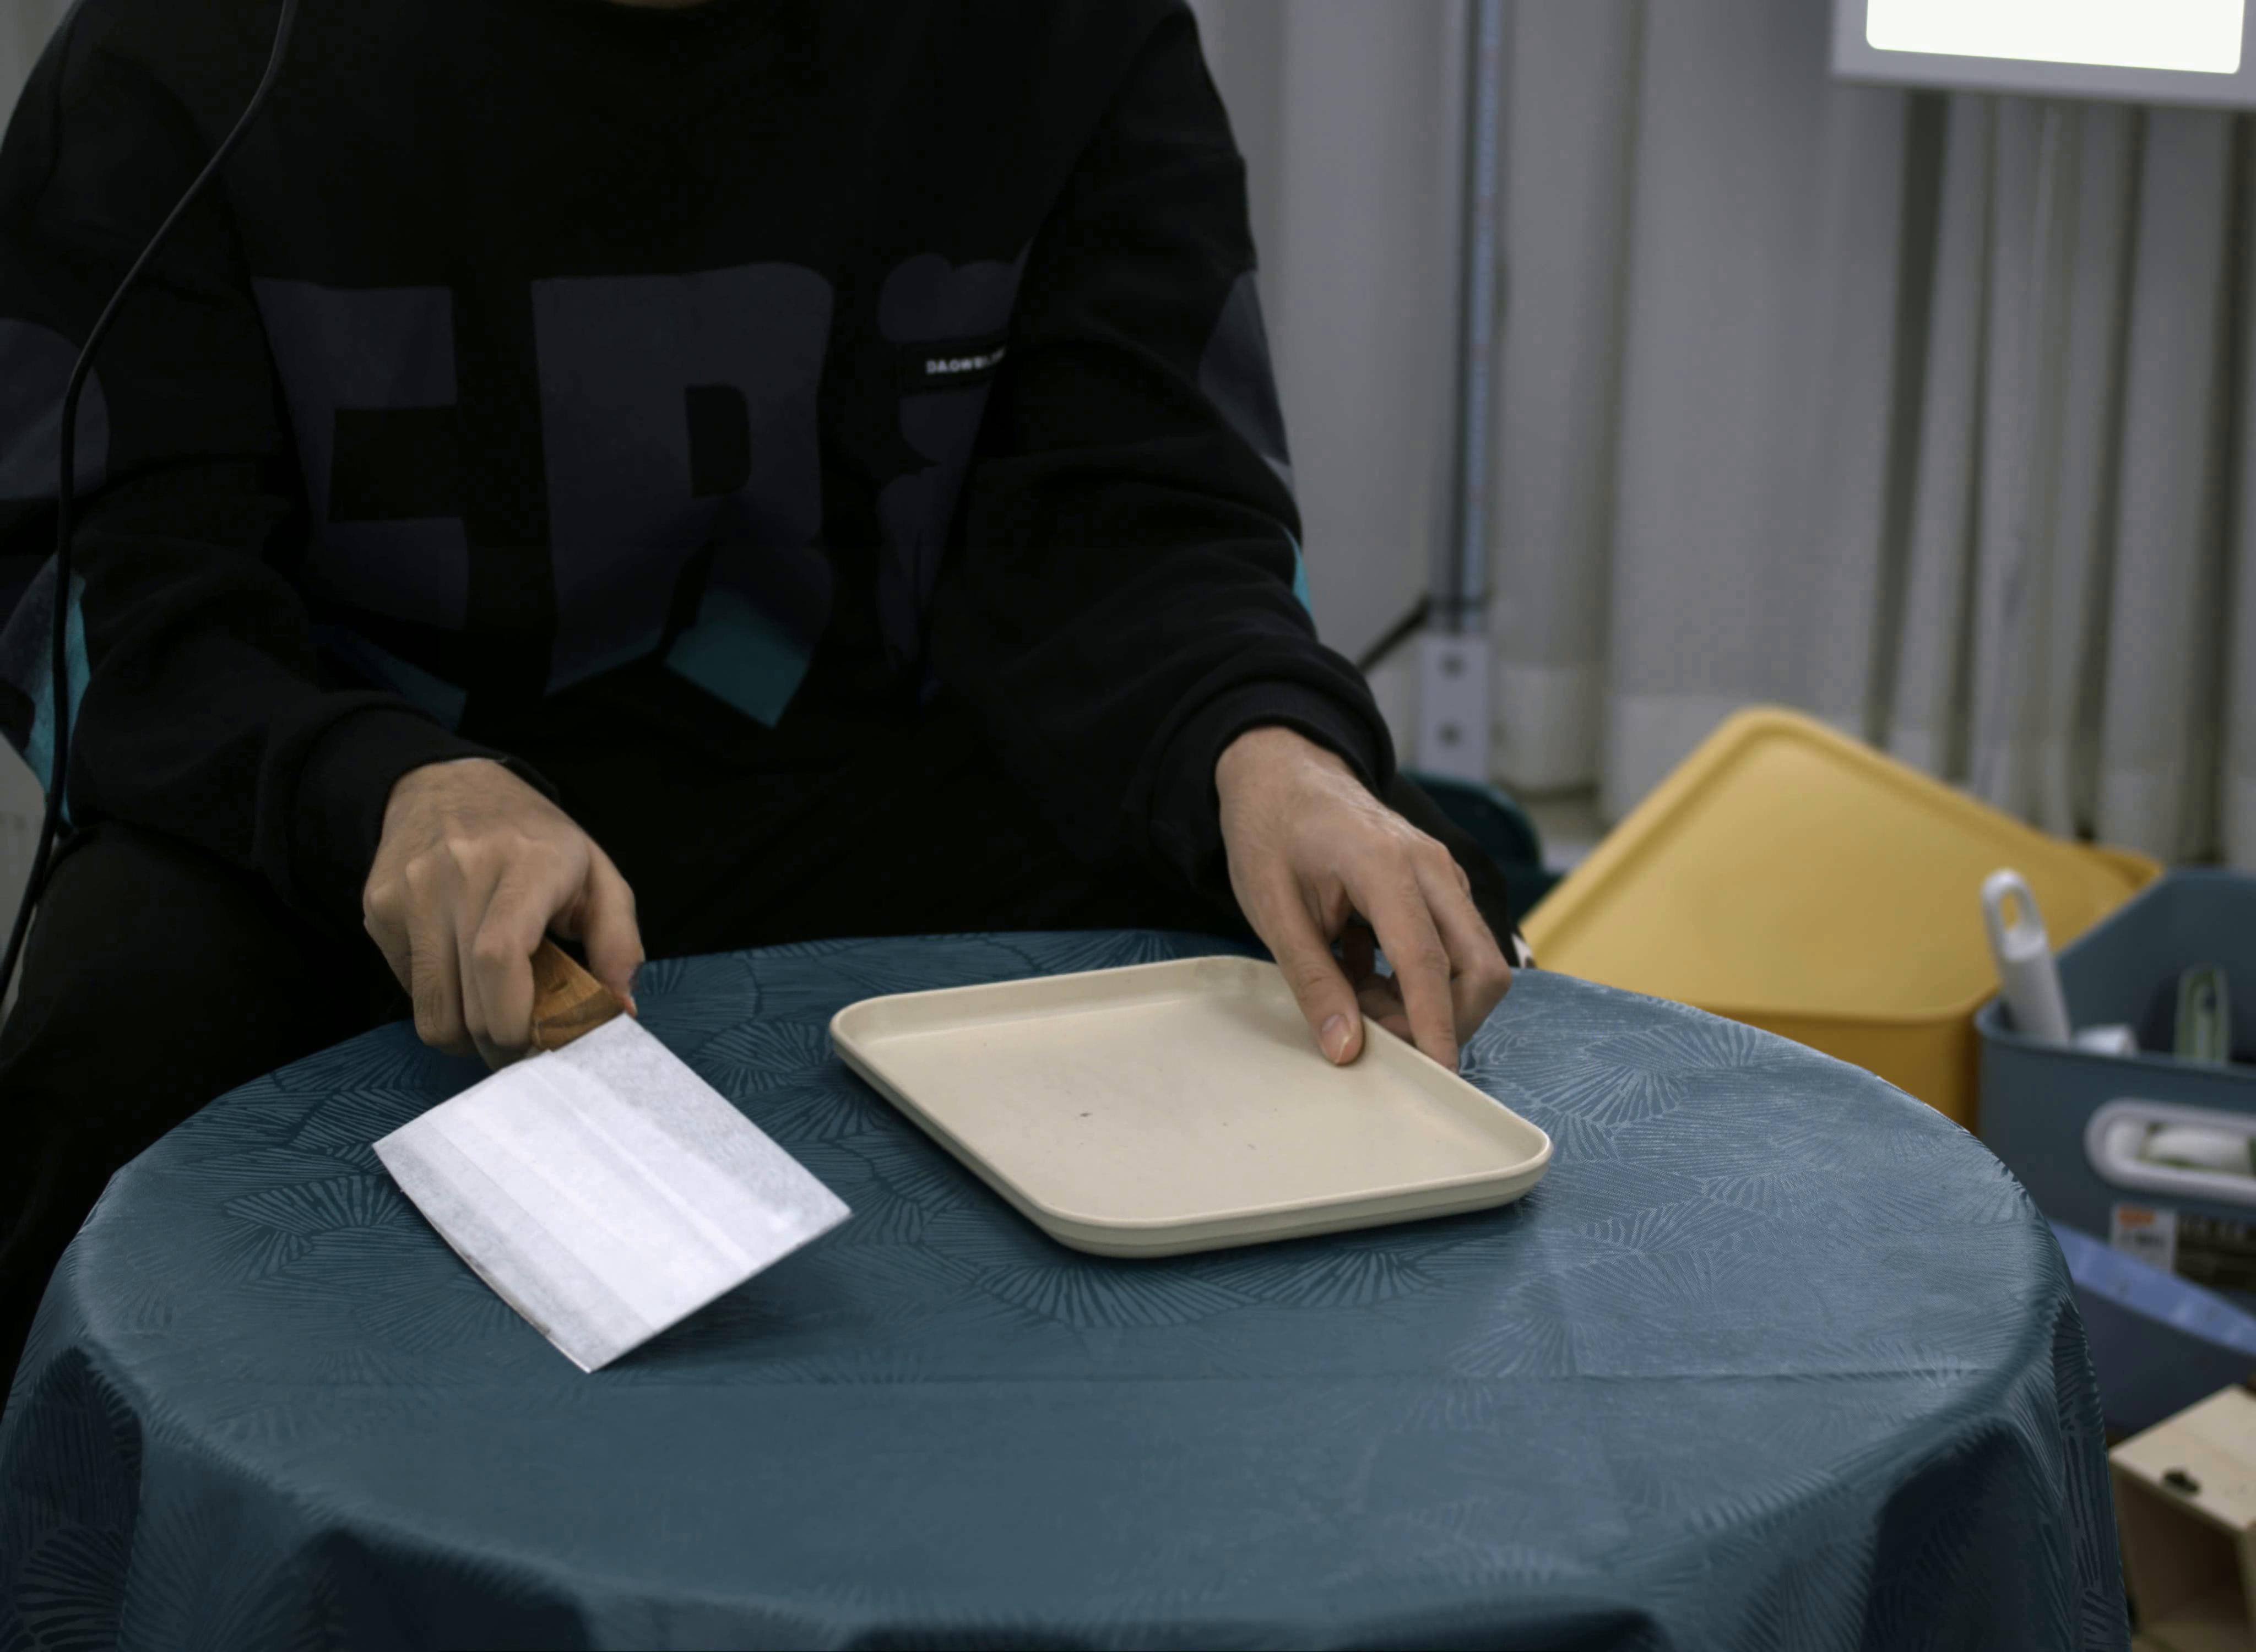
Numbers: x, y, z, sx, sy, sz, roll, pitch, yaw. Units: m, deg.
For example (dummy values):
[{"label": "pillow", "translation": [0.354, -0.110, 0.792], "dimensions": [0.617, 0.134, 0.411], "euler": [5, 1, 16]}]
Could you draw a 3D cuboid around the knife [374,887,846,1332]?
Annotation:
[{"label": "knife", "translation": [-0.181, 0.087, 1.612], "dimensions": [0.093, 0.021, 0.302], "euler": [-32, 29, -15]}]

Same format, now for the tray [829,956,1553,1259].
[{"label": "tray", "translation": [0.016, 0.088, 1.675], "dimensions": [0.172, 0.017, 0.237], "euler": [-7, 17, -22]}]
